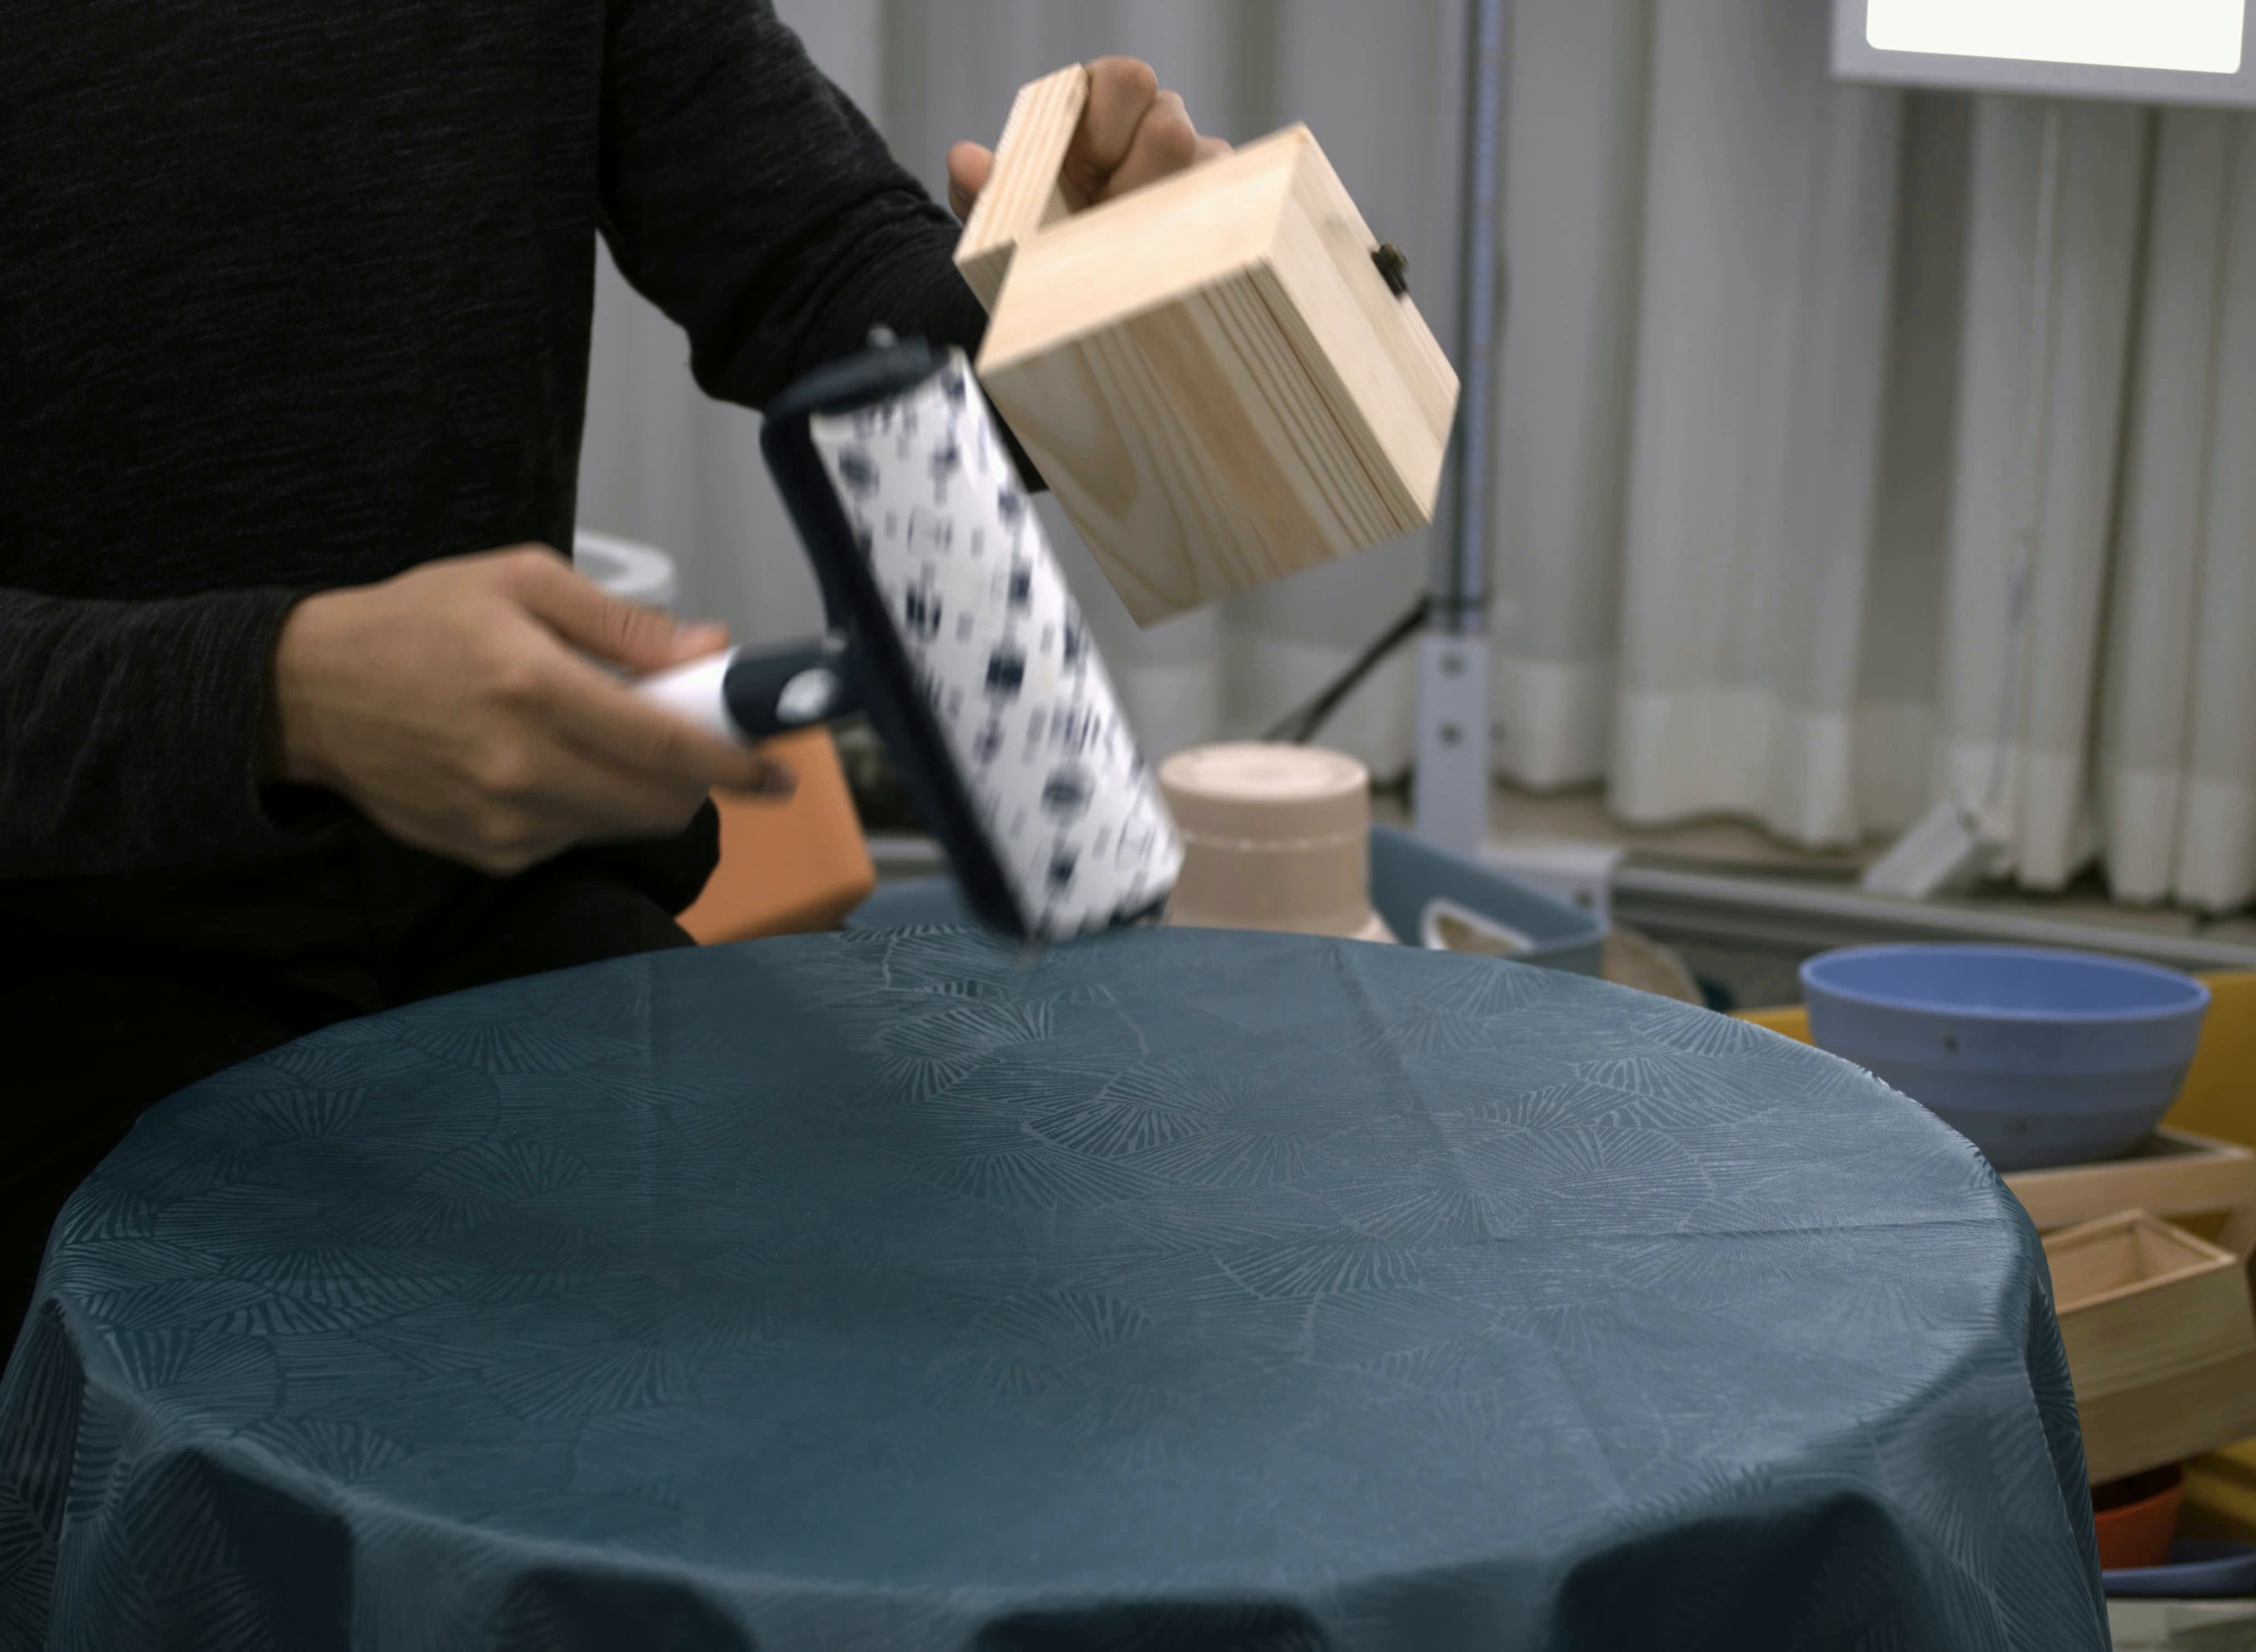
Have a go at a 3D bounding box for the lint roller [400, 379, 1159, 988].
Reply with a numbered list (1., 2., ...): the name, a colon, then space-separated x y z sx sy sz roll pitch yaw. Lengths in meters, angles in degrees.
1. lint roller: -0.120 -0.023 1.522 0.245 0.178 0.050 -11 20 33

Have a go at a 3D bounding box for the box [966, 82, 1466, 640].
1. box: 0.031 -0.160 1.619 0.133 0.104 0.183 -18 32 23
